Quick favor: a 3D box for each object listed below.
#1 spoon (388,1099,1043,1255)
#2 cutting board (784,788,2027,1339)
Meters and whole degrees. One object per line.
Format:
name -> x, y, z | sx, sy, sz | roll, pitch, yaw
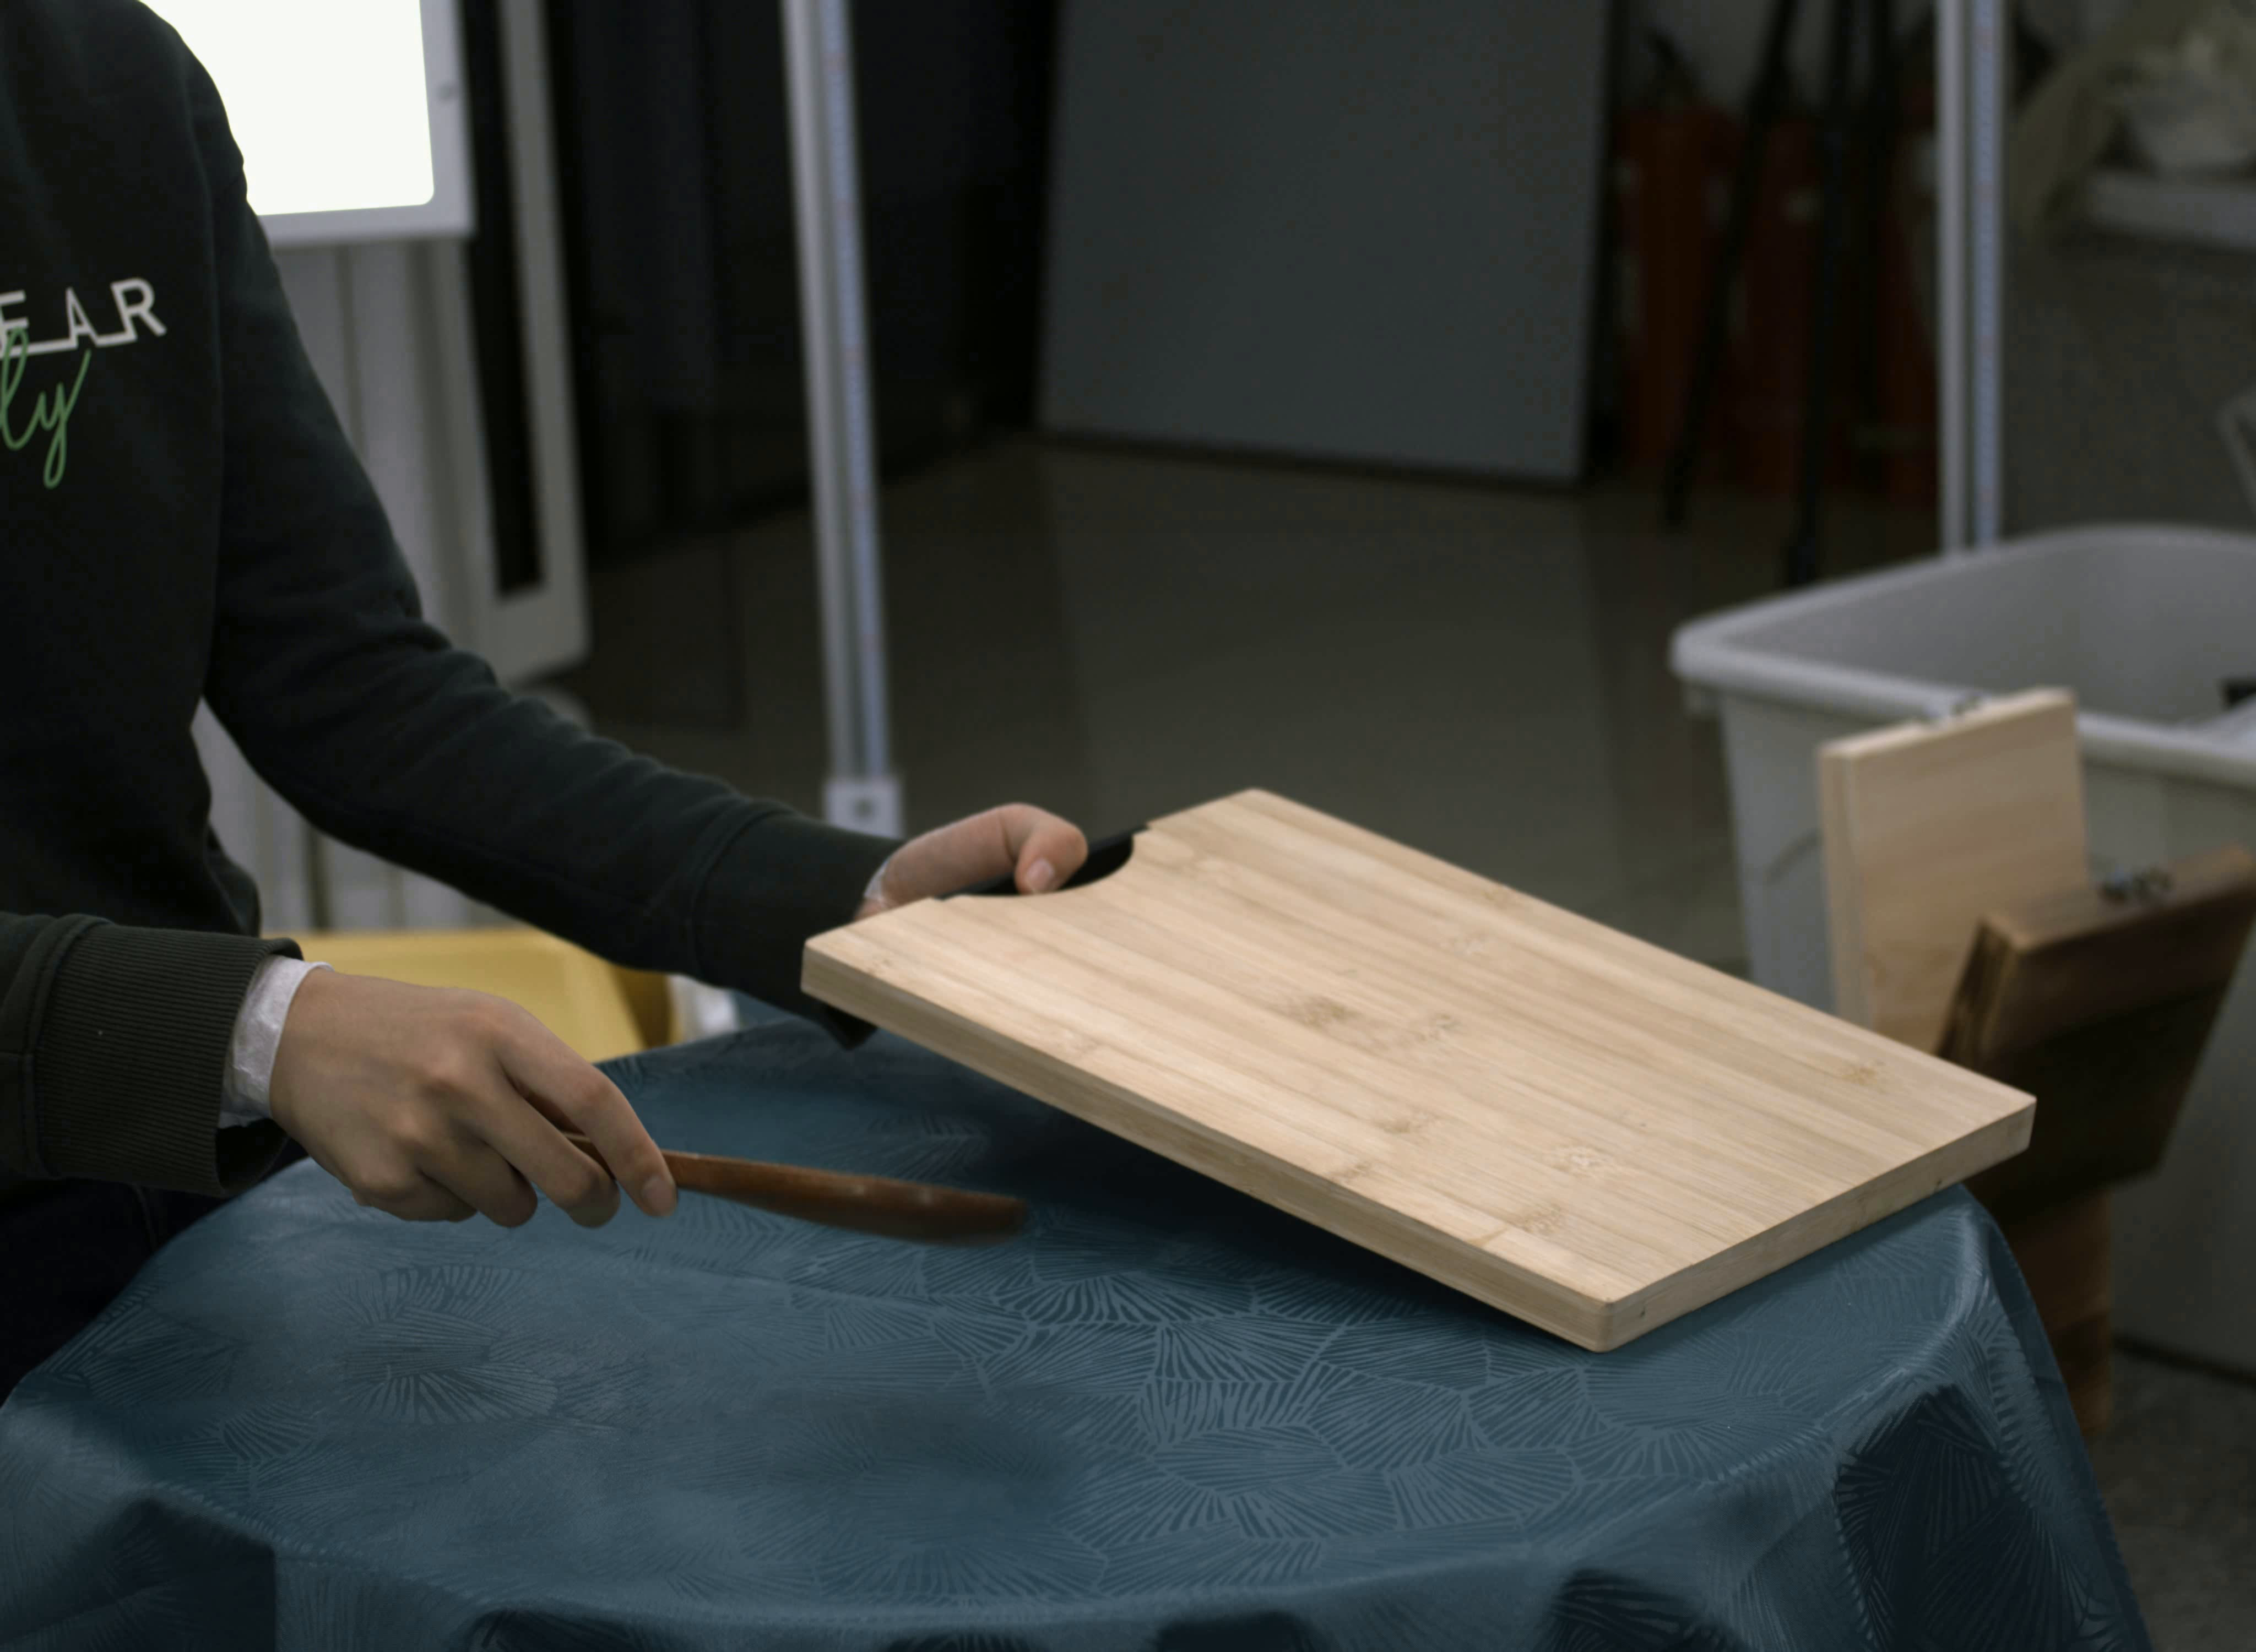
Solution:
spoon -> -0.124, 0.104, 1.586 | 0.216, 0.017, 0.074 | 8, -3, 26
cutting board -> 0.089, 0.071, 1.778 | 0.351, 0.024, 0.246 | 21, 26, 37
